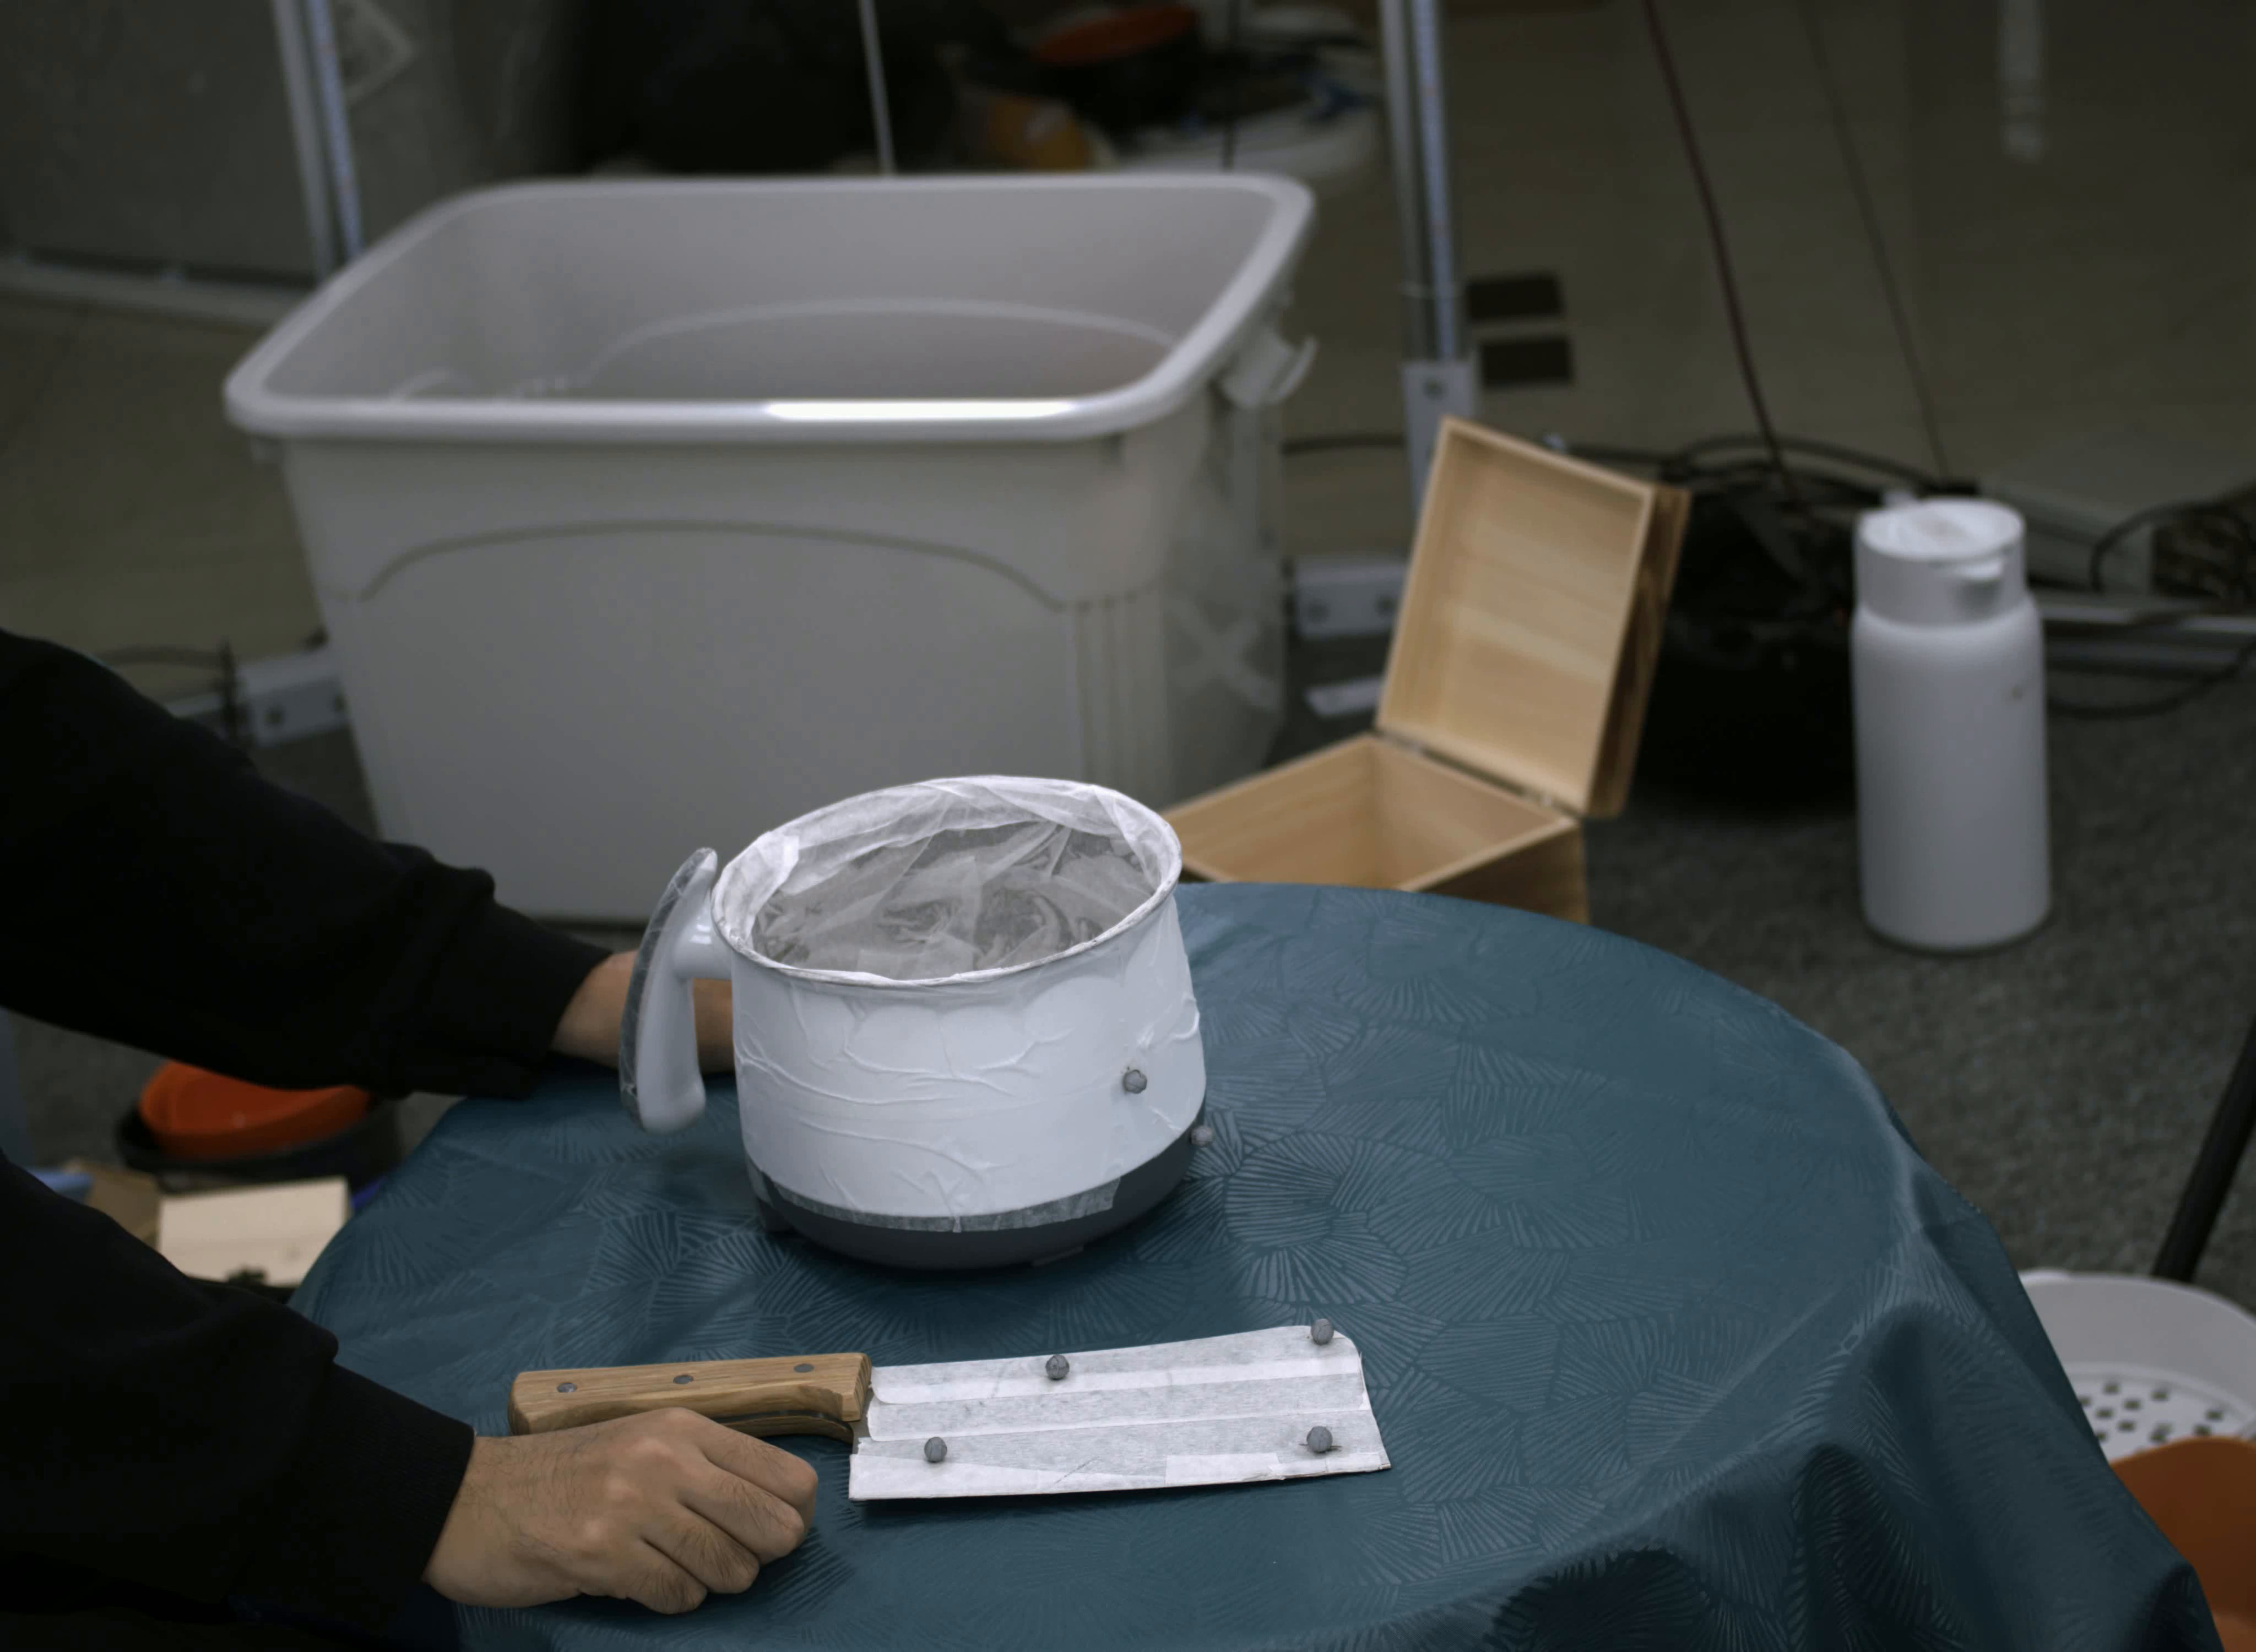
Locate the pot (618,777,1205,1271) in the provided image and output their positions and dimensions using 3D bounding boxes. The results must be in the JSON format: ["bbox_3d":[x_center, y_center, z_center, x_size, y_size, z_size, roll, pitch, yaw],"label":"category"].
[{"bbox_3d":[-0.087,0.075,2.142,0.233,0.139,0.176,4,27,19],"label":"pot"}]

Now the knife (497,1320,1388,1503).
[{"bbox_3d":[-0.066,0.207,1.997,0.315,0.022,0.112,-2,25,3],"label":"knife"}]
